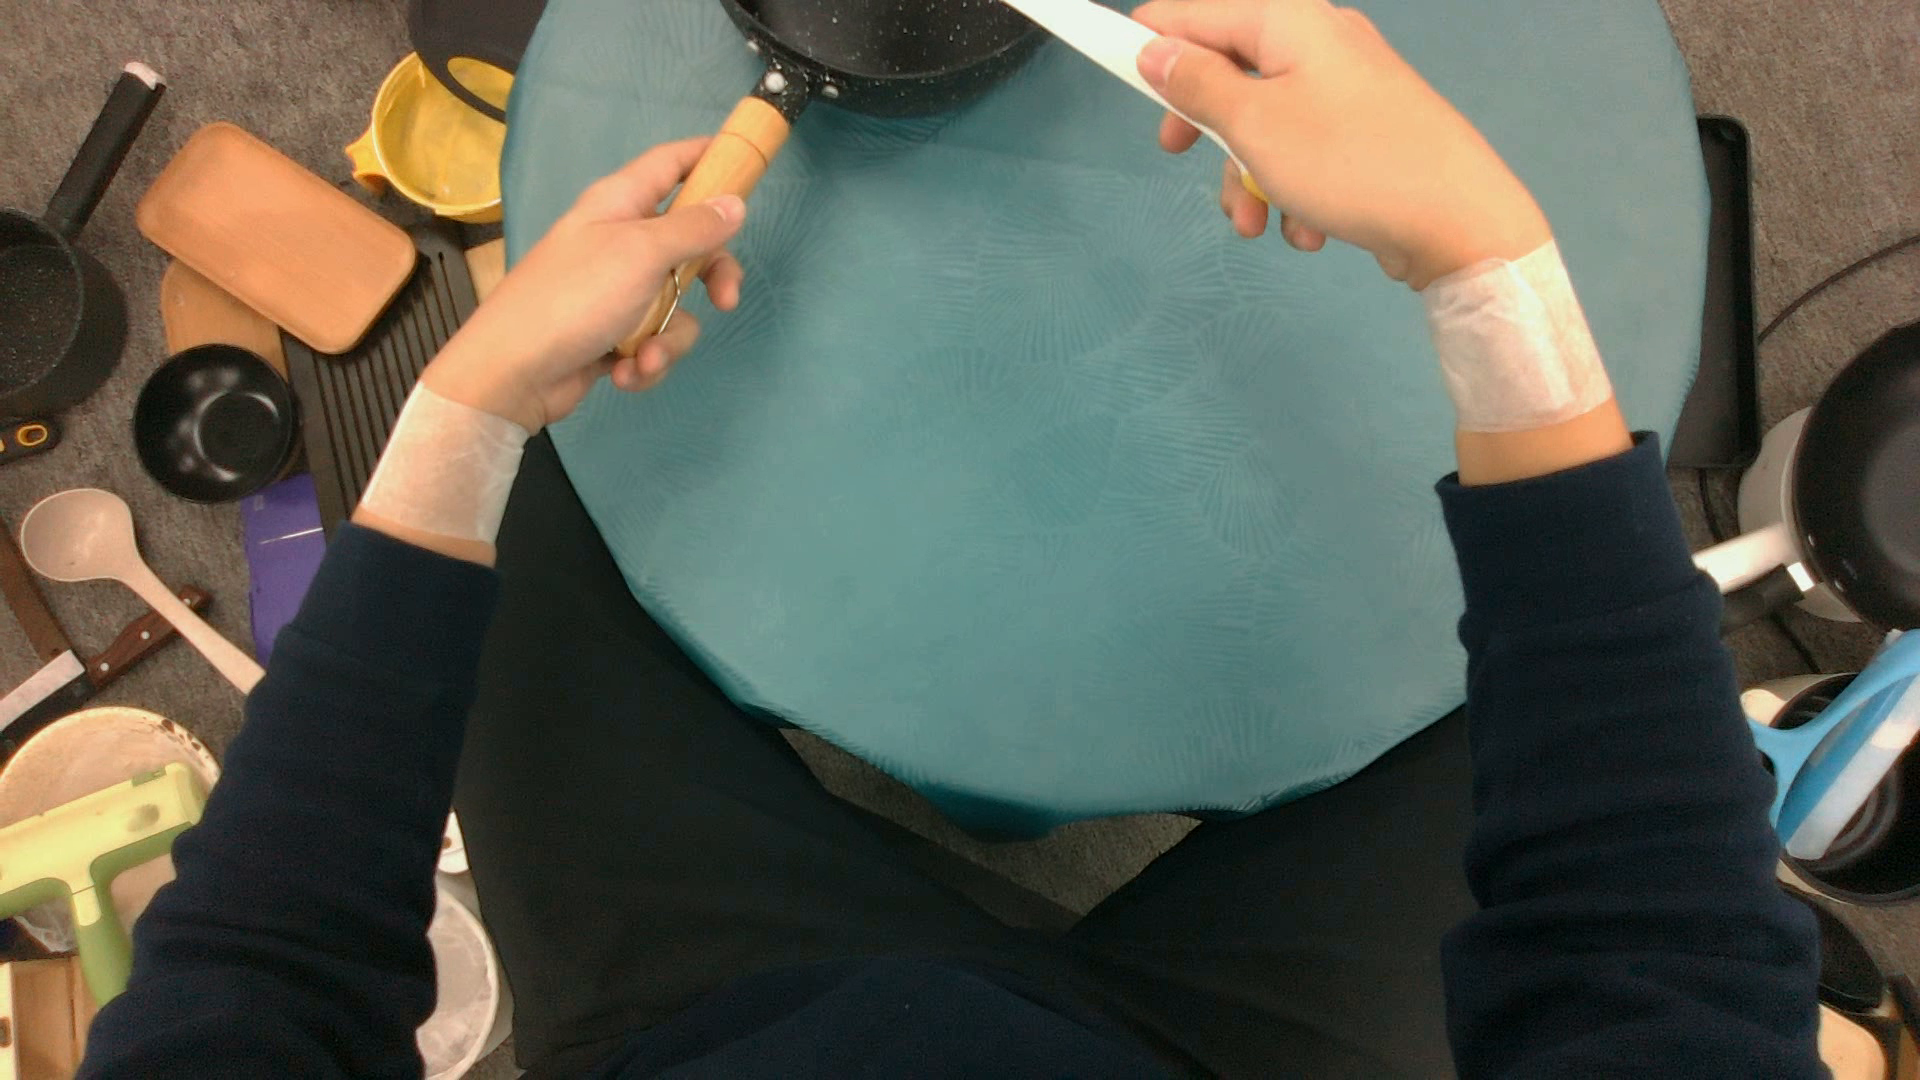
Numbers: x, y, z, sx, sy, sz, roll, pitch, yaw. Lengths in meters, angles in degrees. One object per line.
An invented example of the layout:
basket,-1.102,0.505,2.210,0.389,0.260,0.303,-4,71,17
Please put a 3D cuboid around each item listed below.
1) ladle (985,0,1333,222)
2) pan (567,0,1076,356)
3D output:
ladle,0.035,-0.223,0.538,0.070,0.090,0.293,-41,64,-15
pan,-0.072,-0.222,0.631,0.207,0.108,0.343,27,82,0
